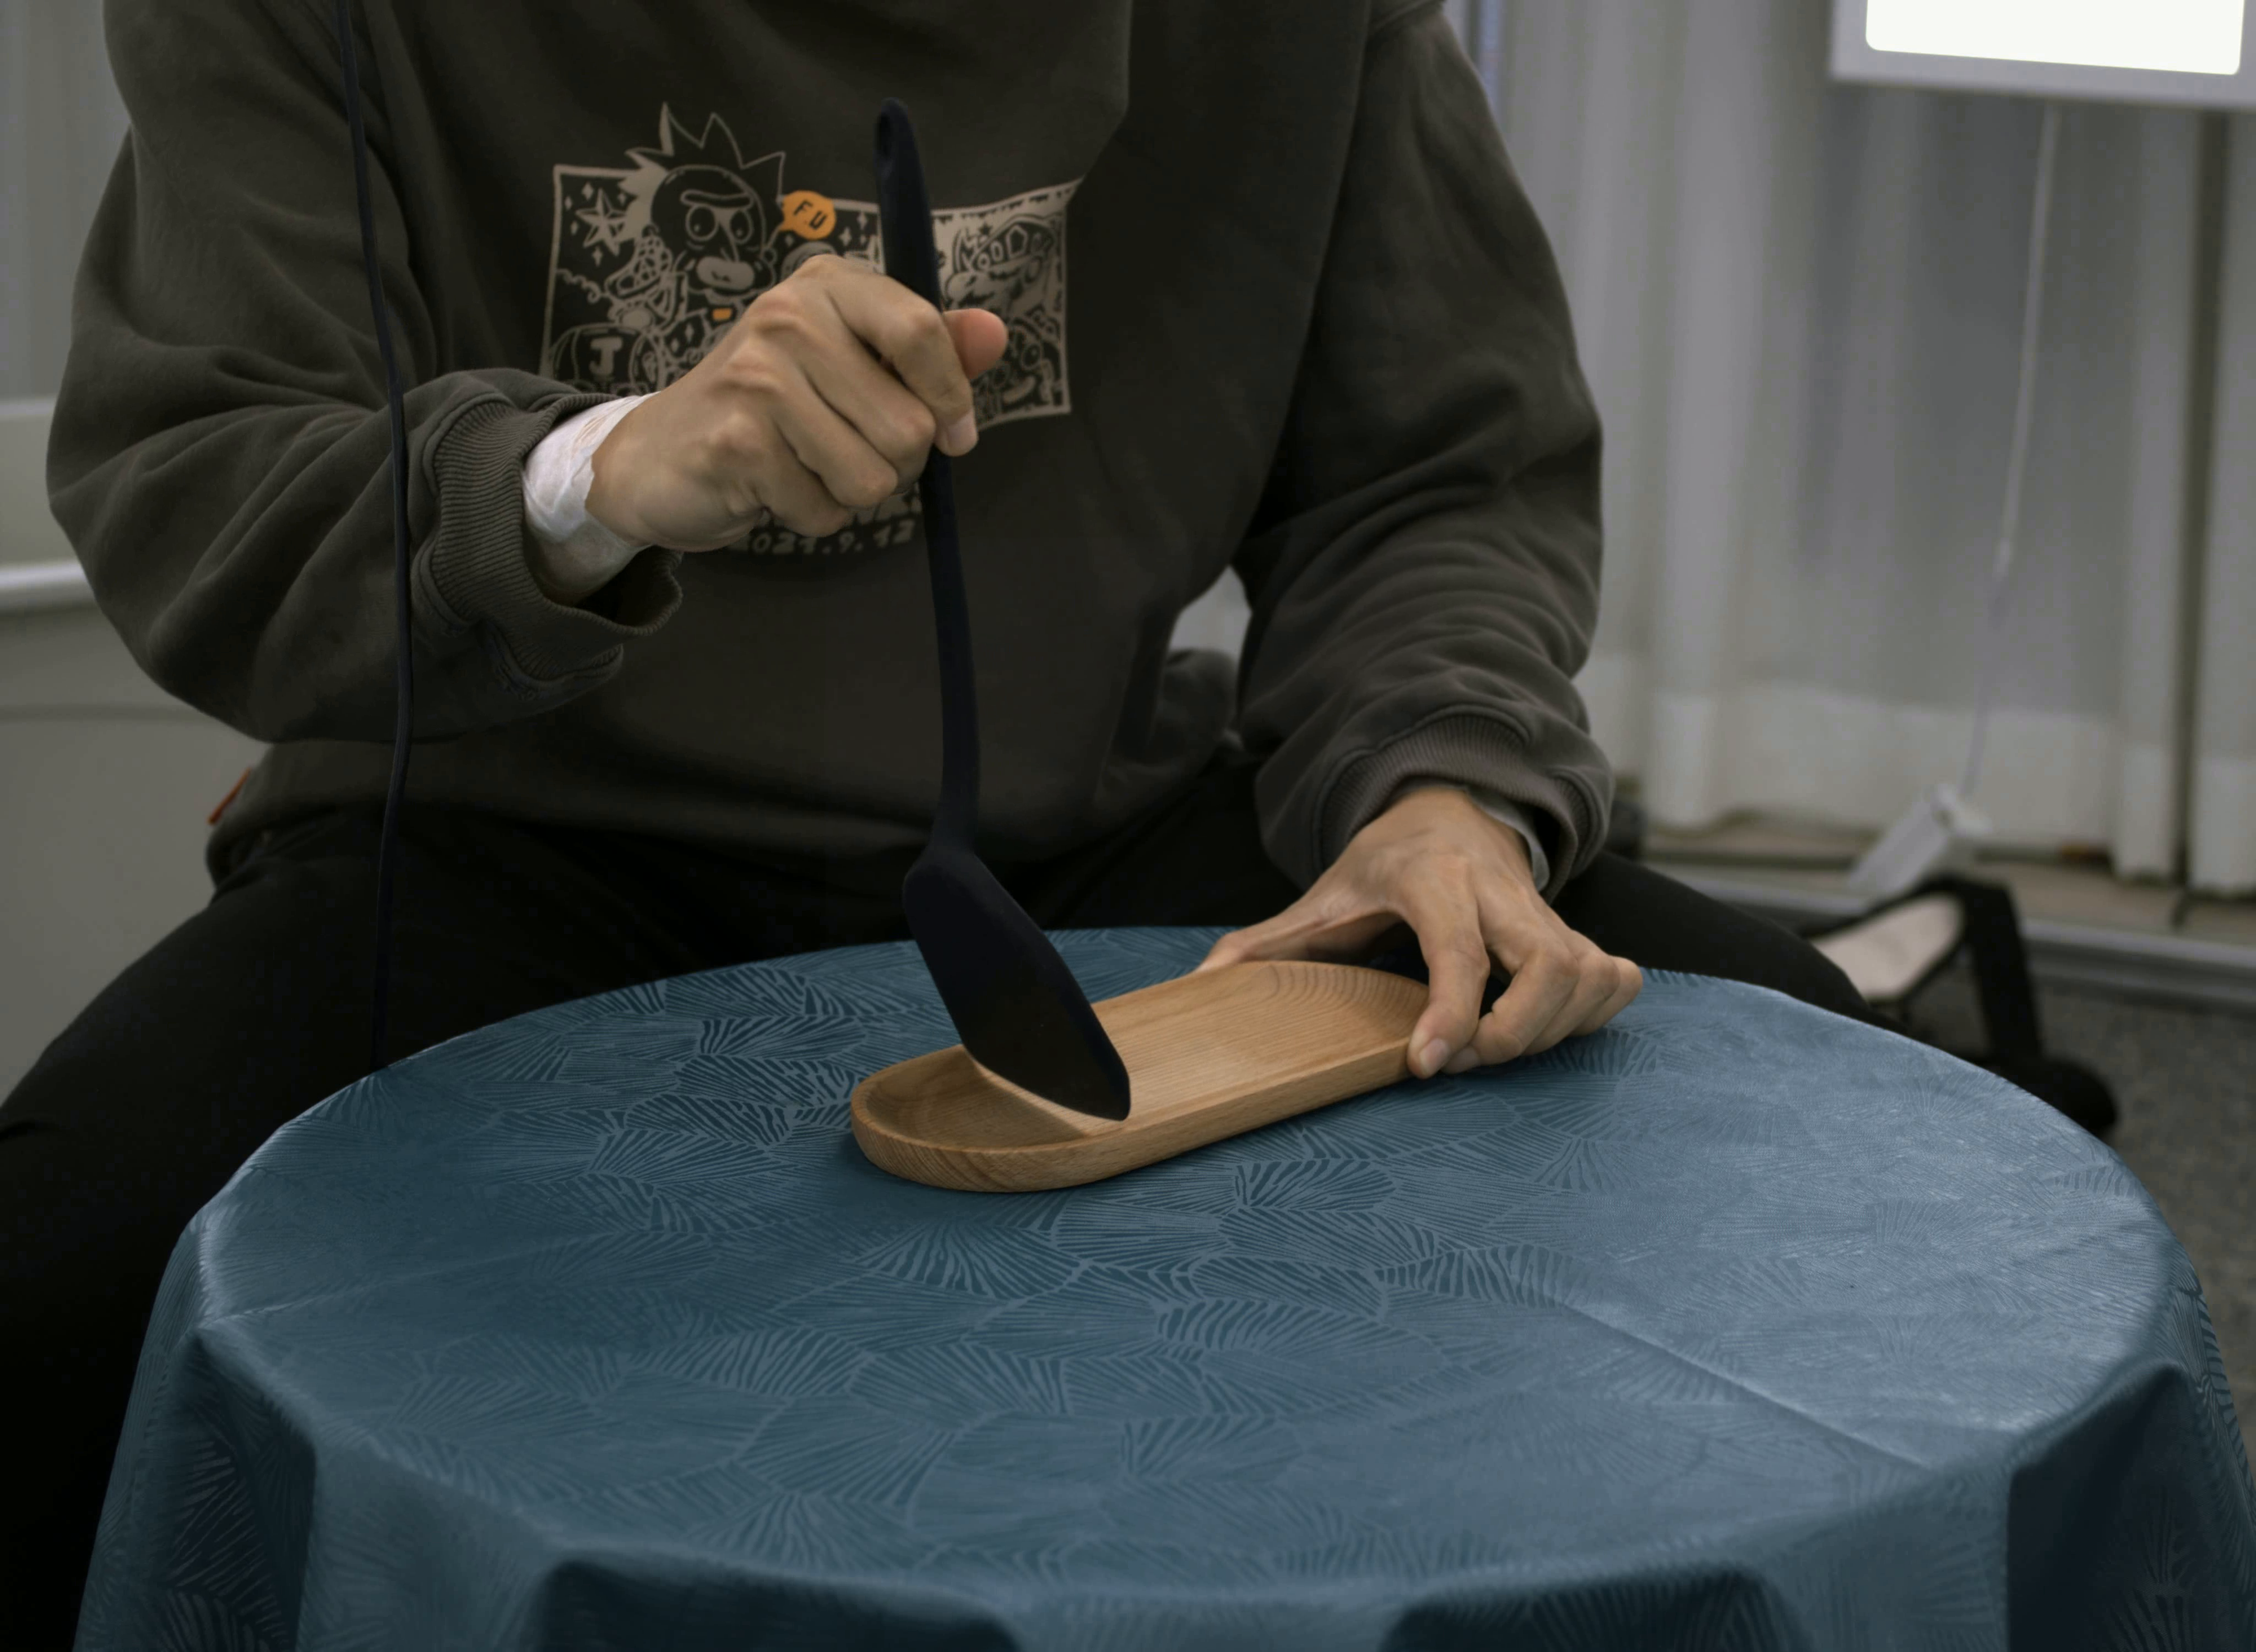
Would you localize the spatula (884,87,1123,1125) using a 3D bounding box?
[{"bbox_3d":[-0.049,-0.065,1.623,0.040,0.329,0.098,-13,18,-34],"label":"spatula"}]

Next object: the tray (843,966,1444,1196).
[{"bbox_3d":[0.008,0.082,1.711,0.232,0.020,0.100,-16,23,-42],"label":"tray"}]
